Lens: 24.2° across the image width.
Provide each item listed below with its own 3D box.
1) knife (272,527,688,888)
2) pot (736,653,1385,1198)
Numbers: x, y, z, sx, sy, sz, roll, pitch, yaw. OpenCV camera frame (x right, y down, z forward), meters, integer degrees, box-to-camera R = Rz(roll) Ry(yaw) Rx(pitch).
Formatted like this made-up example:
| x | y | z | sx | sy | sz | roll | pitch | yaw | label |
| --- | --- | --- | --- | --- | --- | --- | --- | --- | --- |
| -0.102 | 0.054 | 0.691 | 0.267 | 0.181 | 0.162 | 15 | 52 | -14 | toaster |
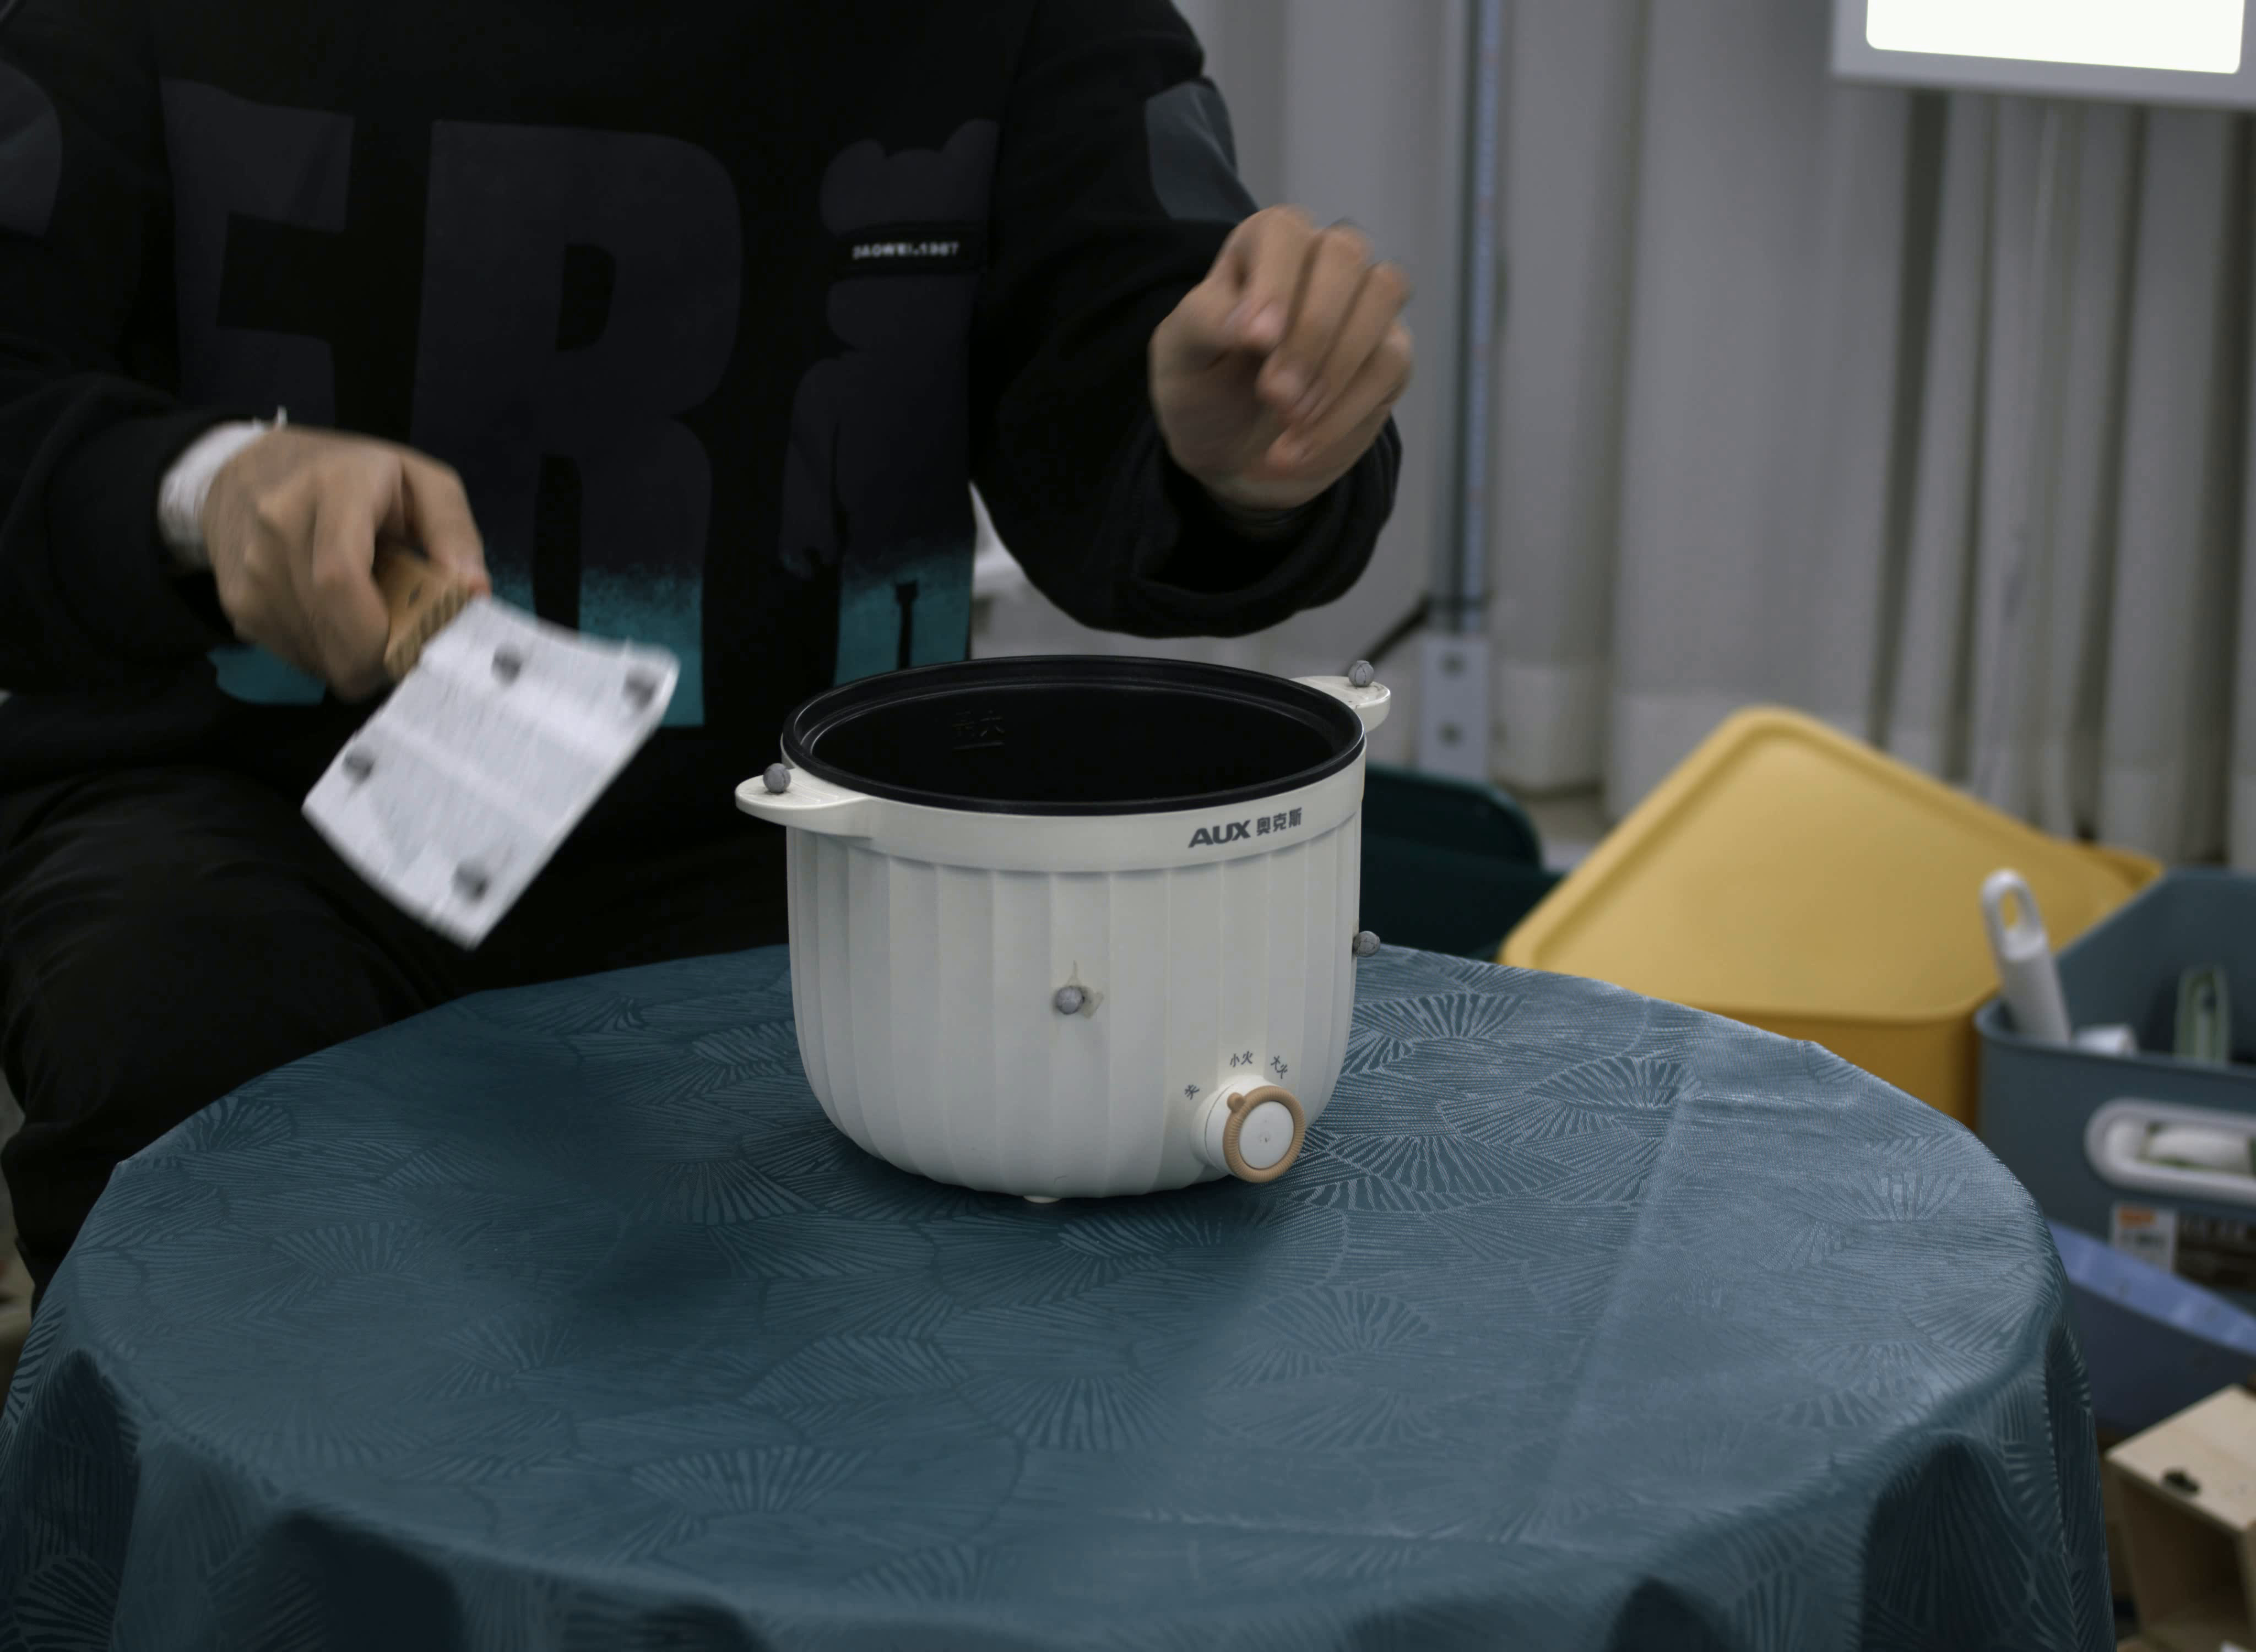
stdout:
| x | y | z | sx | sy | sz | roll | pitch | yaw | label |
| --- | --- | --- | --- | --- | --- | --- | --- | --- | --- |
| -0.207 | -0.048 | 1.601 | 0.022 | 0.114 | 0.312 | 41 | -4 | -26 | knife |
| -0.013 | 0.033 | 1.646 | 0.241 | 0.144 | 0.188 | -12 | 17 | -35 | pot |
